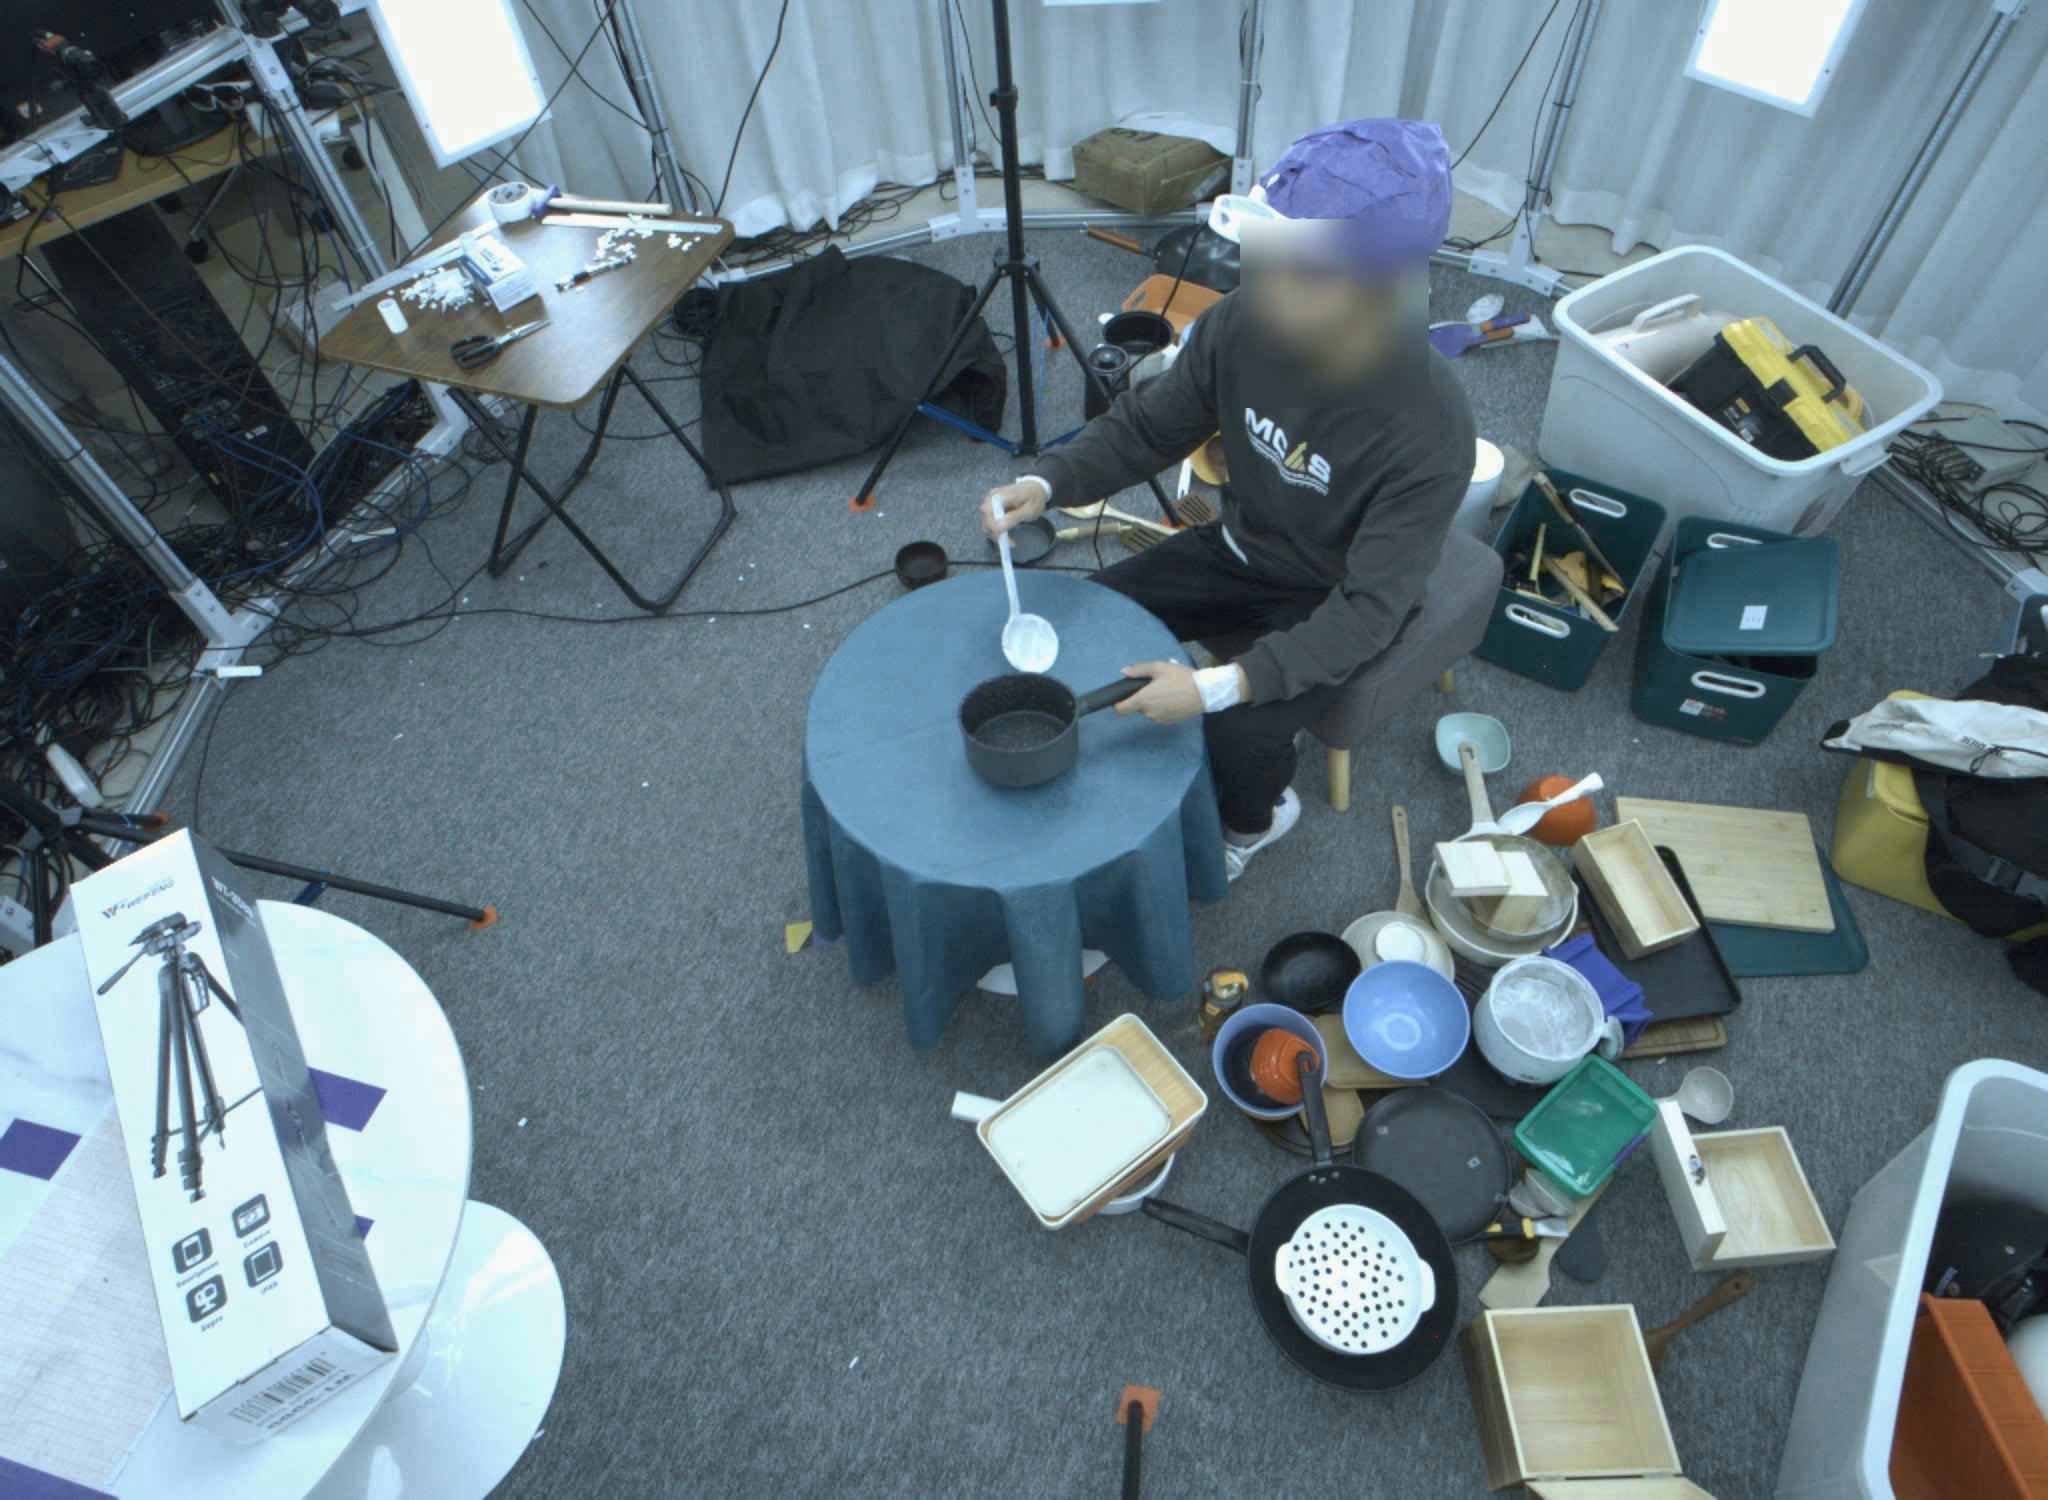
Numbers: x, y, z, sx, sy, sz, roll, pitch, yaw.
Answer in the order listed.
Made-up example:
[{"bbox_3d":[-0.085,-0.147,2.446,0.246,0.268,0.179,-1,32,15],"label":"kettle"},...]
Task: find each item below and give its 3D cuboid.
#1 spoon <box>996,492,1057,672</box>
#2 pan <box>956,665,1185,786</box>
[{"bbox_3d":[-0.002,-0.248,1.819,0.102,0.280,0.058,-29,40,-29],"label":"spoon"},{"bbox_3d":[0.070,-0.049,1.759,0.330,0.087,0.169,-13,45,-8],"label":"pan"}]
